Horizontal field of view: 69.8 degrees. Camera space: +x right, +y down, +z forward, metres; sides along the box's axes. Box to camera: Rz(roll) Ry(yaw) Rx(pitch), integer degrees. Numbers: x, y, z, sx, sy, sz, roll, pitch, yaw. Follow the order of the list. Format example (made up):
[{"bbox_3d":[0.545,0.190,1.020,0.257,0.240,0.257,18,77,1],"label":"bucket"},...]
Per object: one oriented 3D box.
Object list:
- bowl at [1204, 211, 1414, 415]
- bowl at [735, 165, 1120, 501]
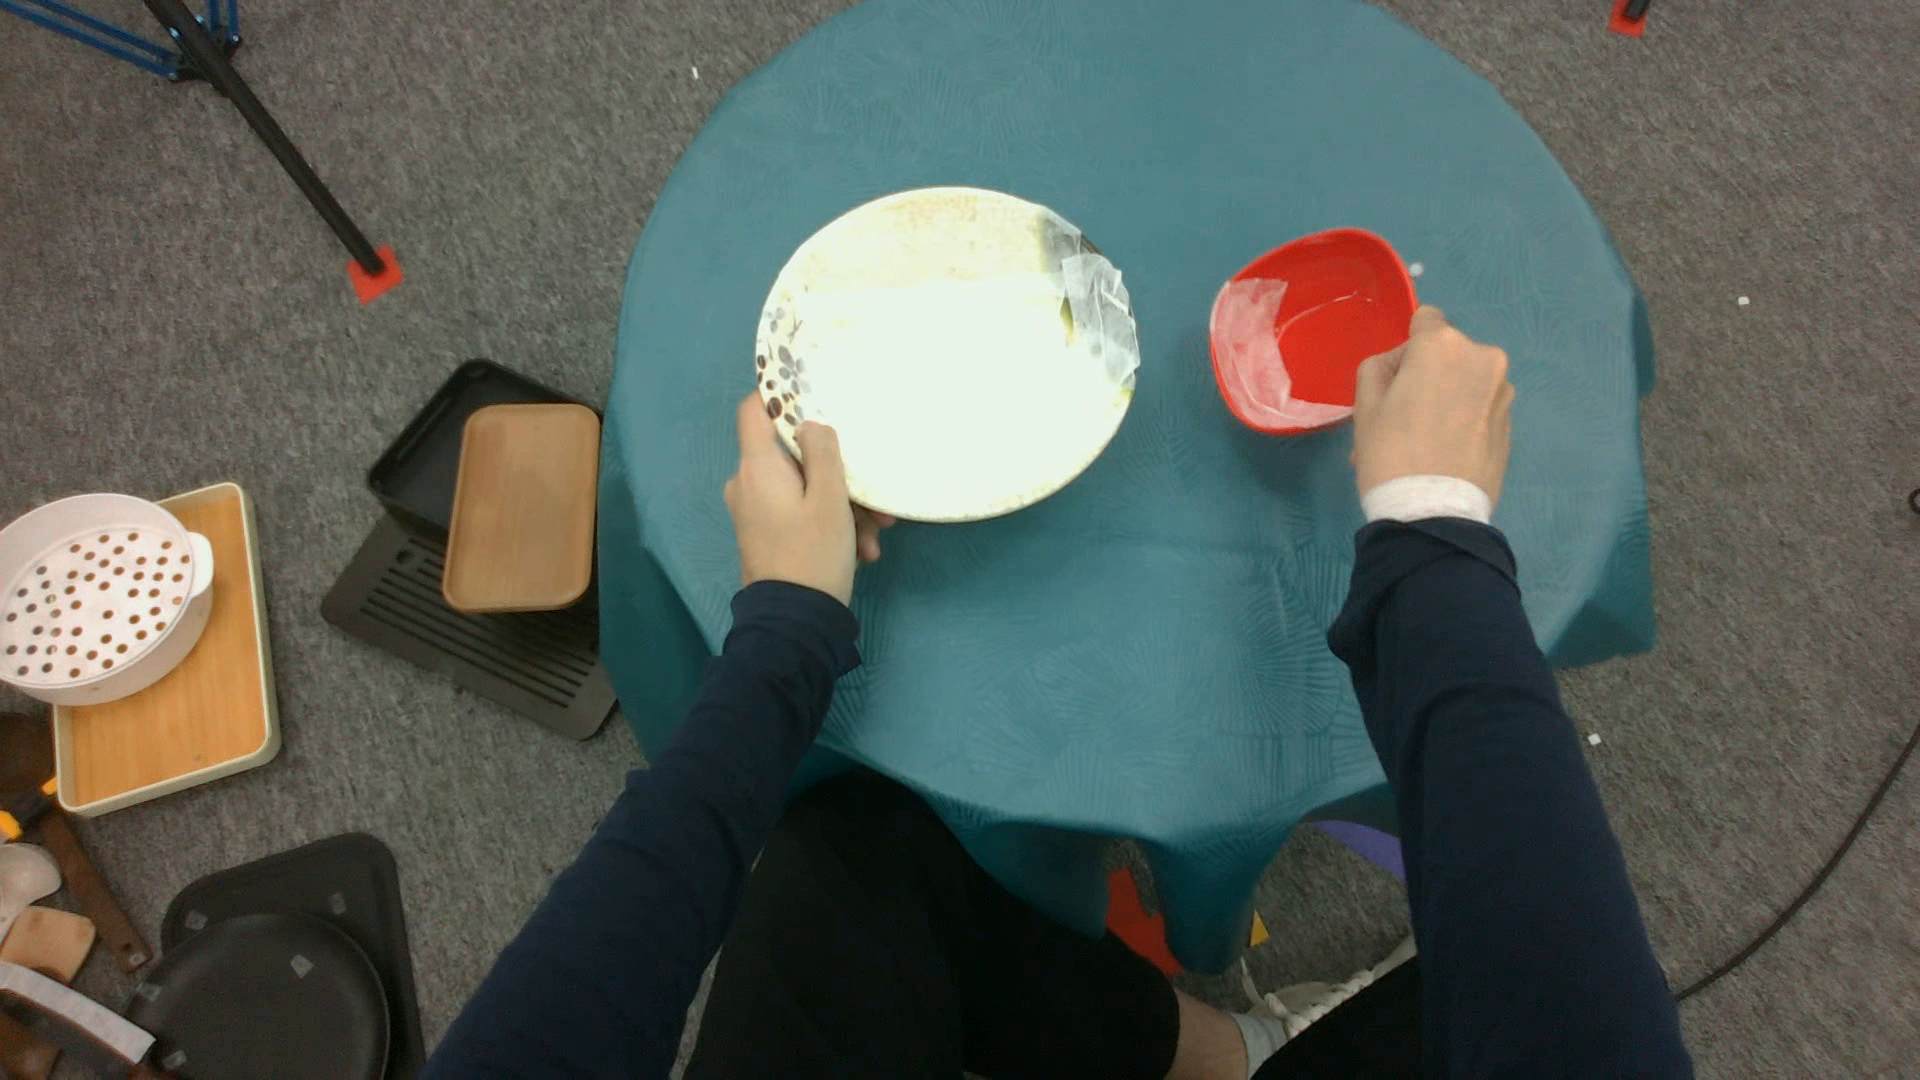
[{"bbox_3d":[0.194,-0.116,0.751,0.118,0.051,0.119,-10,69,28],"label":"bowl"},{"bbox_3d":[-0.017,-0.101,0.759,0.204,0.077,0.204,0,68,1],"label":"bowl"}]
